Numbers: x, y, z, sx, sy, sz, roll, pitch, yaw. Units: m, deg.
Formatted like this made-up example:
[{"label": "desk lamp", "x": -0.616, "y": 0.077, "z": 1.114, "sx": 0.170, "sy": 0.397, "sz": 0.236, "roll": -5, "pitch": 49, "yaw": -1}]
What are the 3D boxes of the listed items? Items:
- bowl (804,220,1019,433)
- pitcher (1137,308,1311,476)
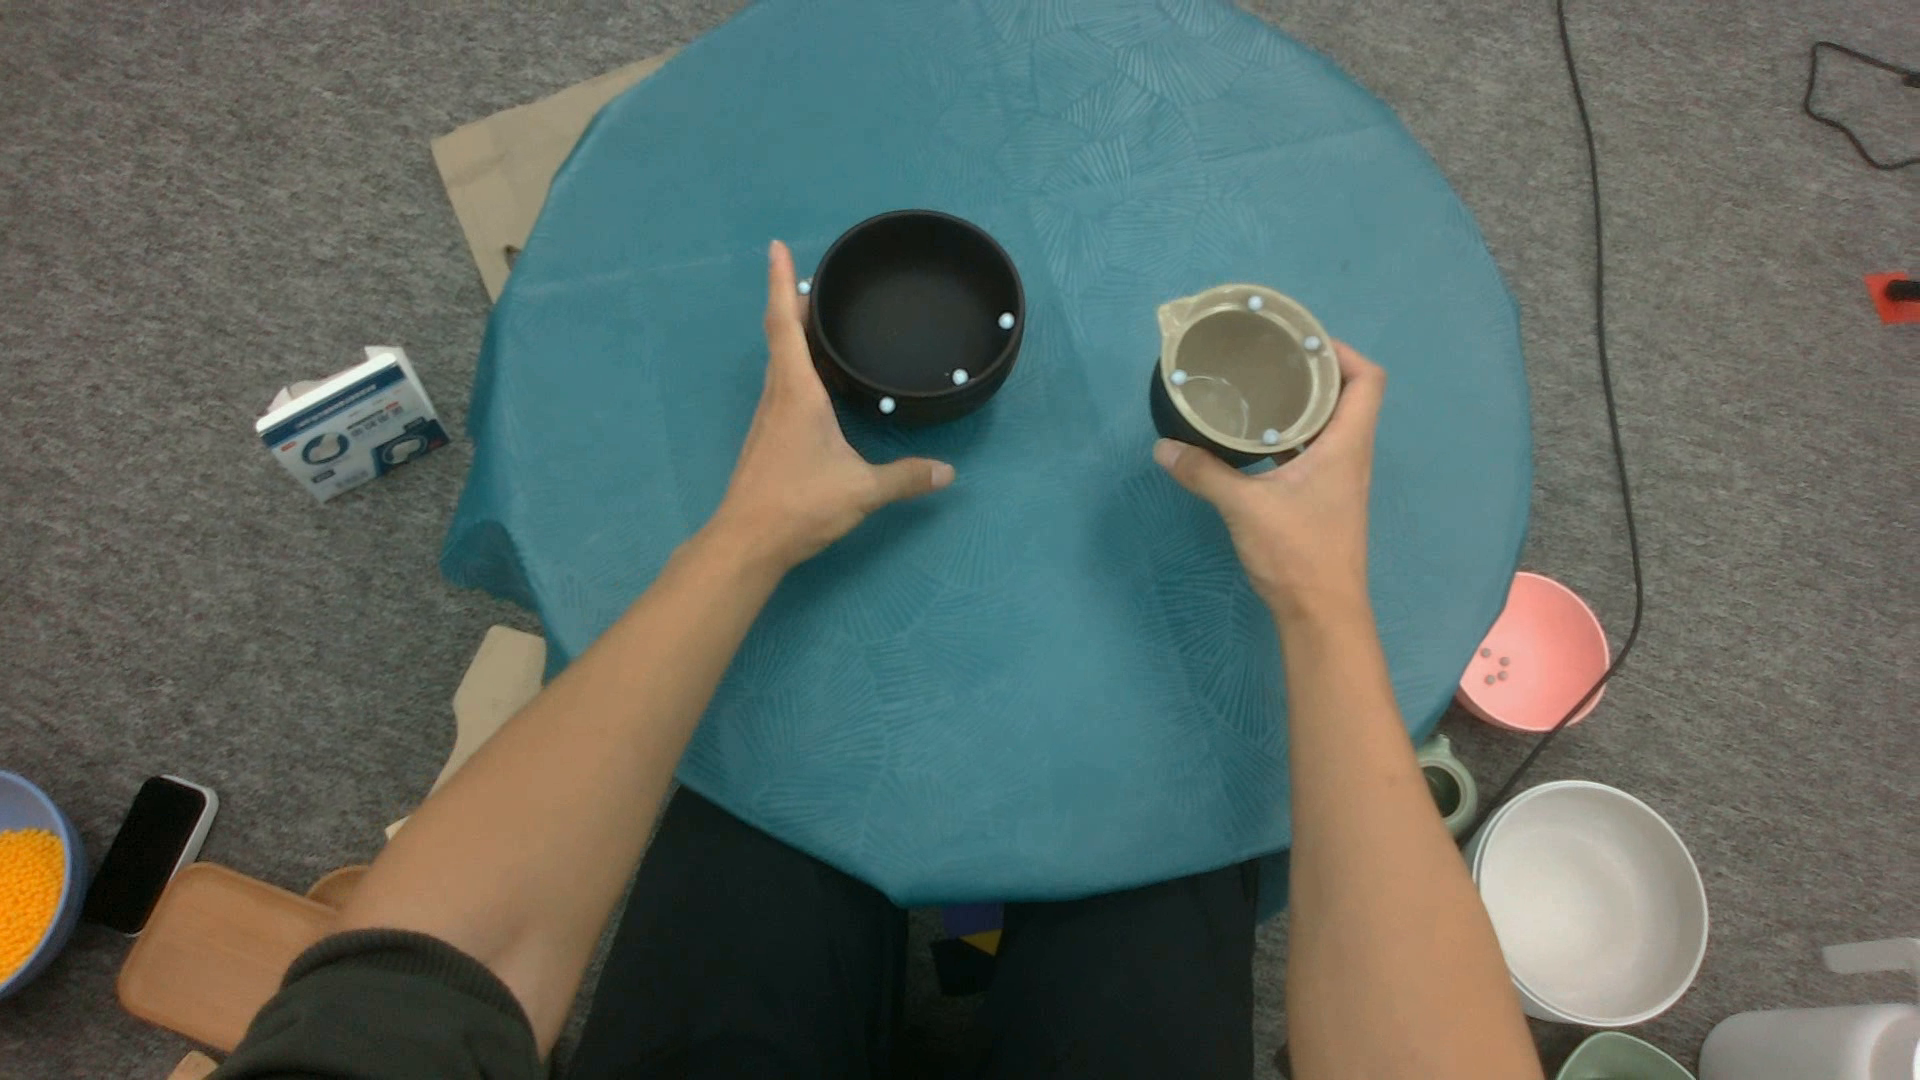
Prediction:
[{"label": "bowl", "x": -0.028, "y": -0.113, "z": 0.773, "sx": 0.118, "sy": 0.069, "sz": 0.118, "roll": 2, "pitch": 68, "yaw": -5}, {"label": "pitcher", "x": 0.128, "y": -0.076, "z": 0.723, "sx": 0.096, "sy": 0.071, "sz": 0.084, "roll": 39, "pitch": 71, "yaw": 4}]
